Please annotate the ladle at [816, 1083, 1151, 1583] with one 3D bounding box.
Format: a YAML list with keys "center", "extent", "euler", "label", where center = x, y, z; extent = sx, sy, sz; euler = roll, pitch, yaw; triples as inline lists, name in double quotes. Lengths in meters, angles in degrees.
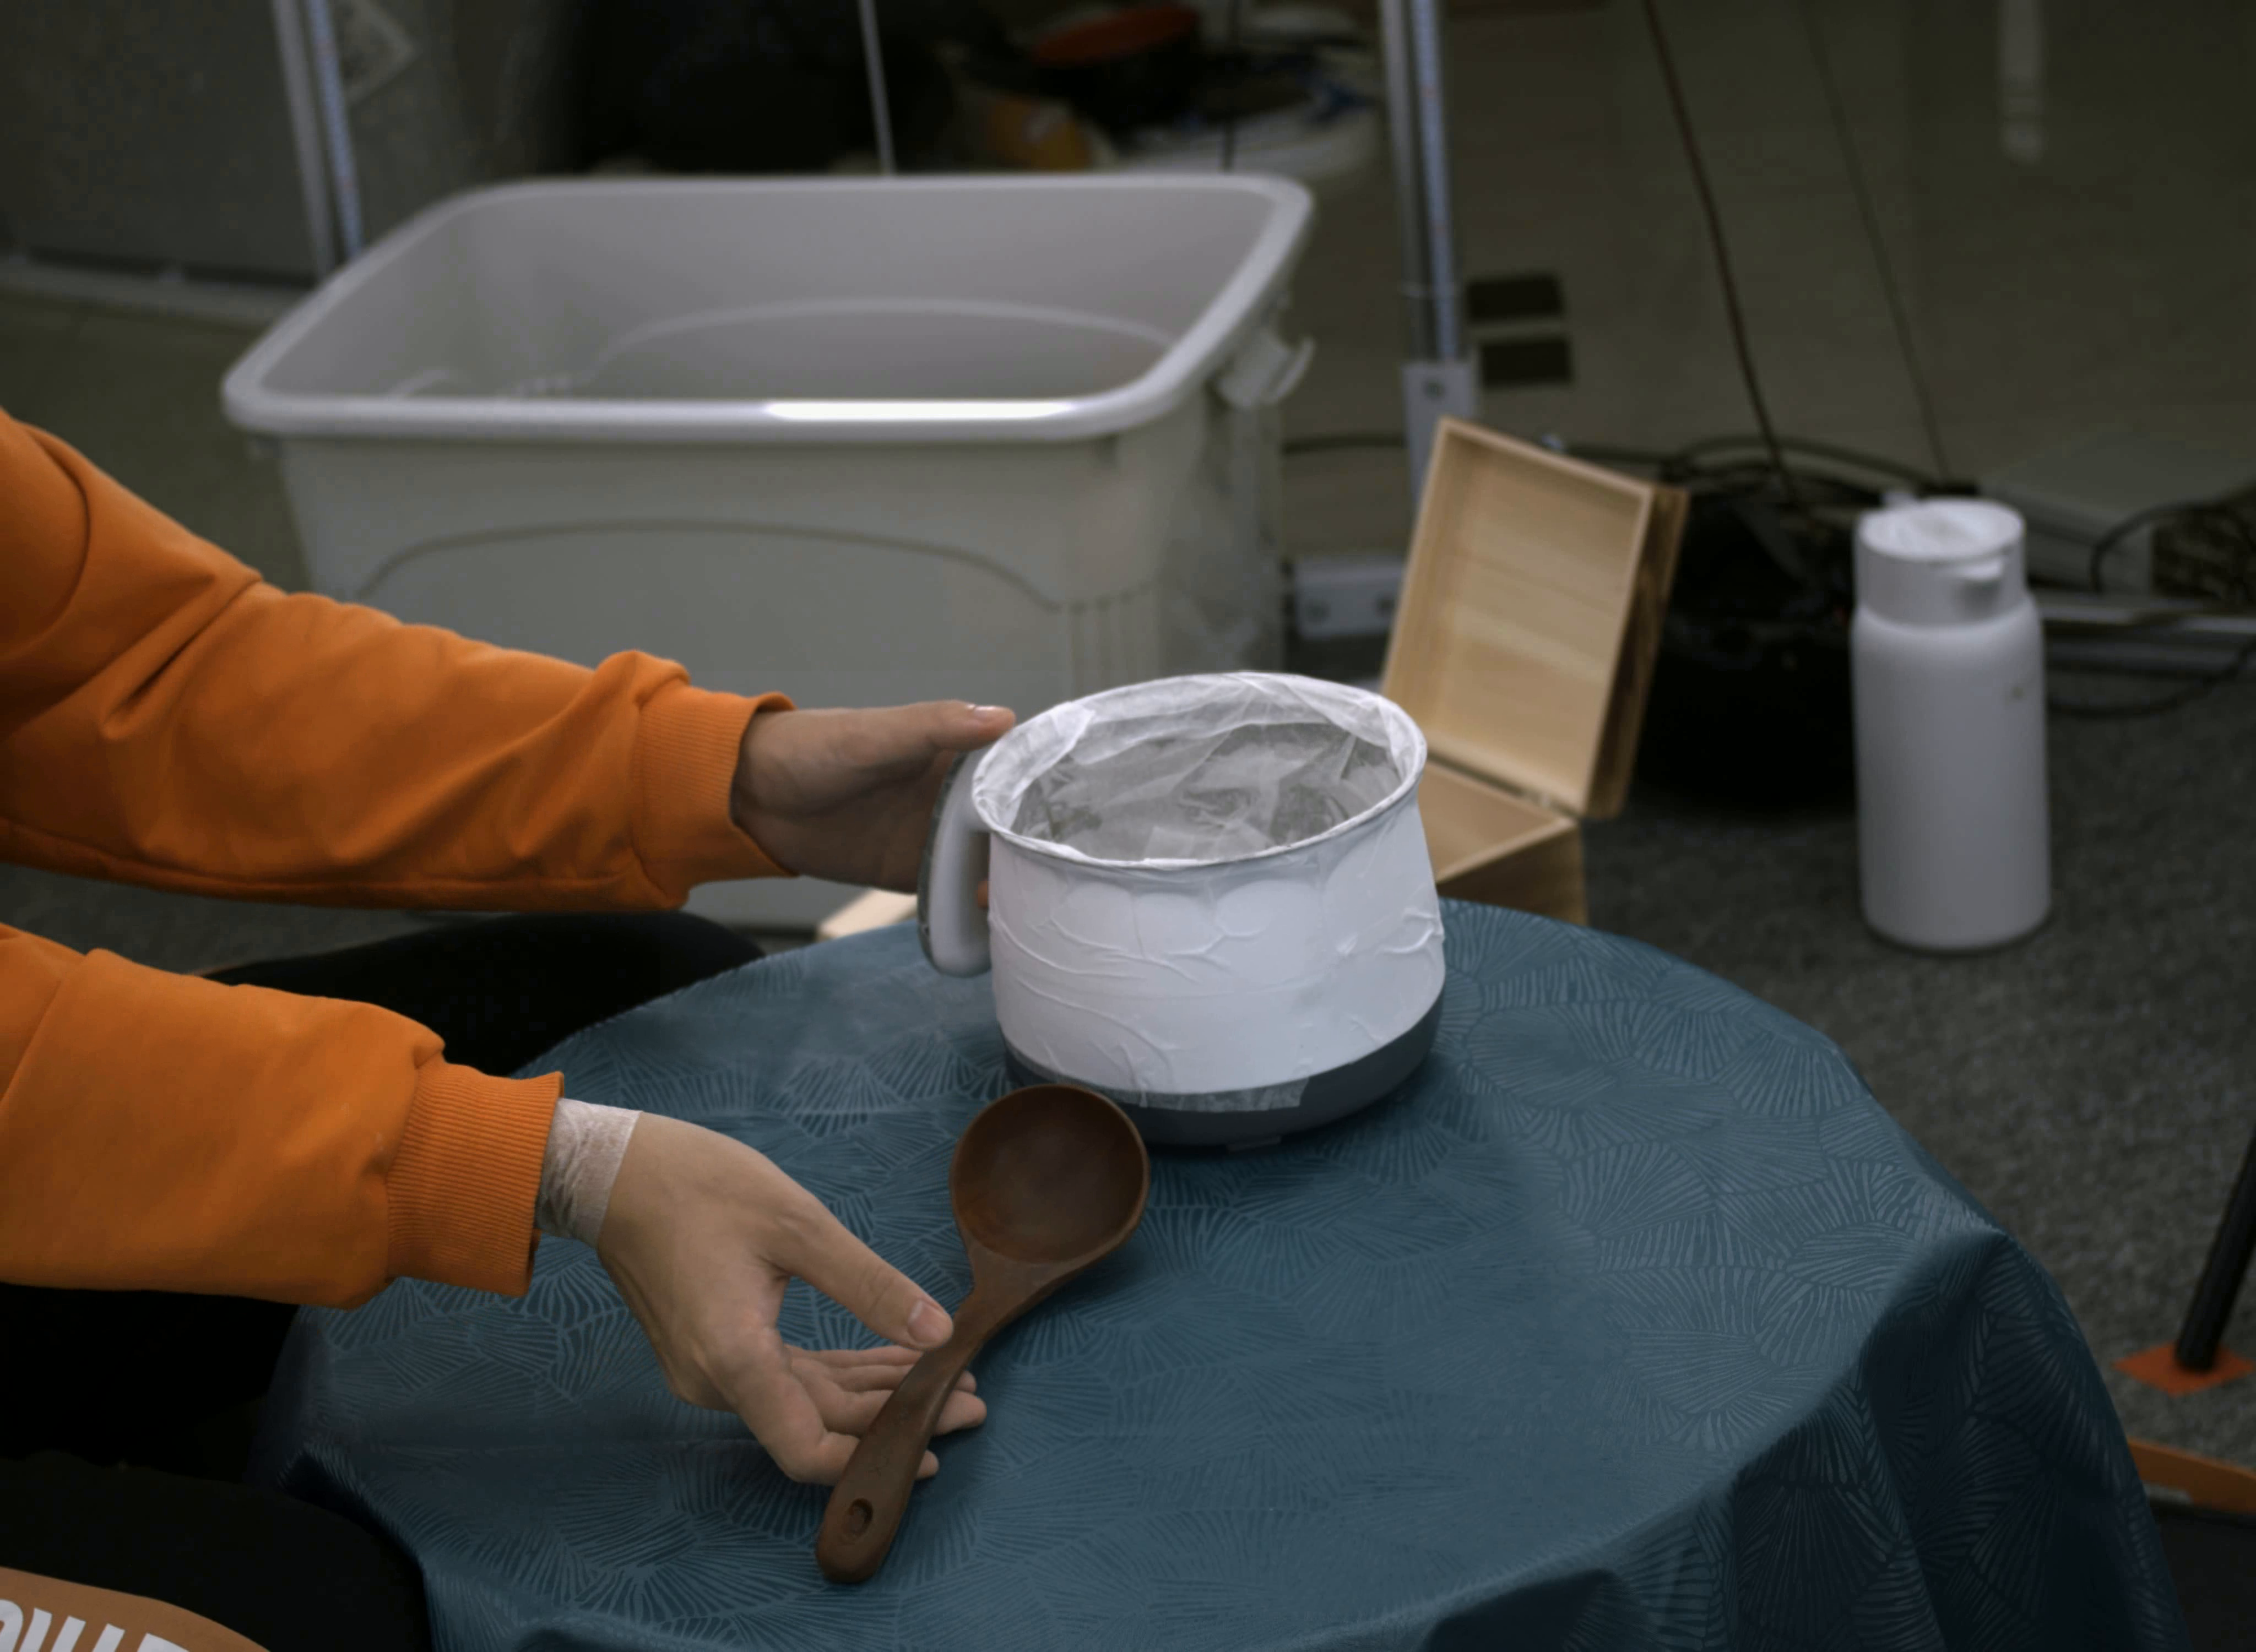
- center: [-0.058, 0.174, 2.010]
  extent: [0.076, 0.066, 0.256]
  euler: [9, 28, 16]
  label: "ladle"

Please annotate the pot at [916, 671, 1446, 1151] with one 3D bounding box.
- center: [0.011, 0.029, 2.215]
  extent: [0.232, 0.139, 0.177]
  euler: [13, 31, 34]
  label: "pot"
